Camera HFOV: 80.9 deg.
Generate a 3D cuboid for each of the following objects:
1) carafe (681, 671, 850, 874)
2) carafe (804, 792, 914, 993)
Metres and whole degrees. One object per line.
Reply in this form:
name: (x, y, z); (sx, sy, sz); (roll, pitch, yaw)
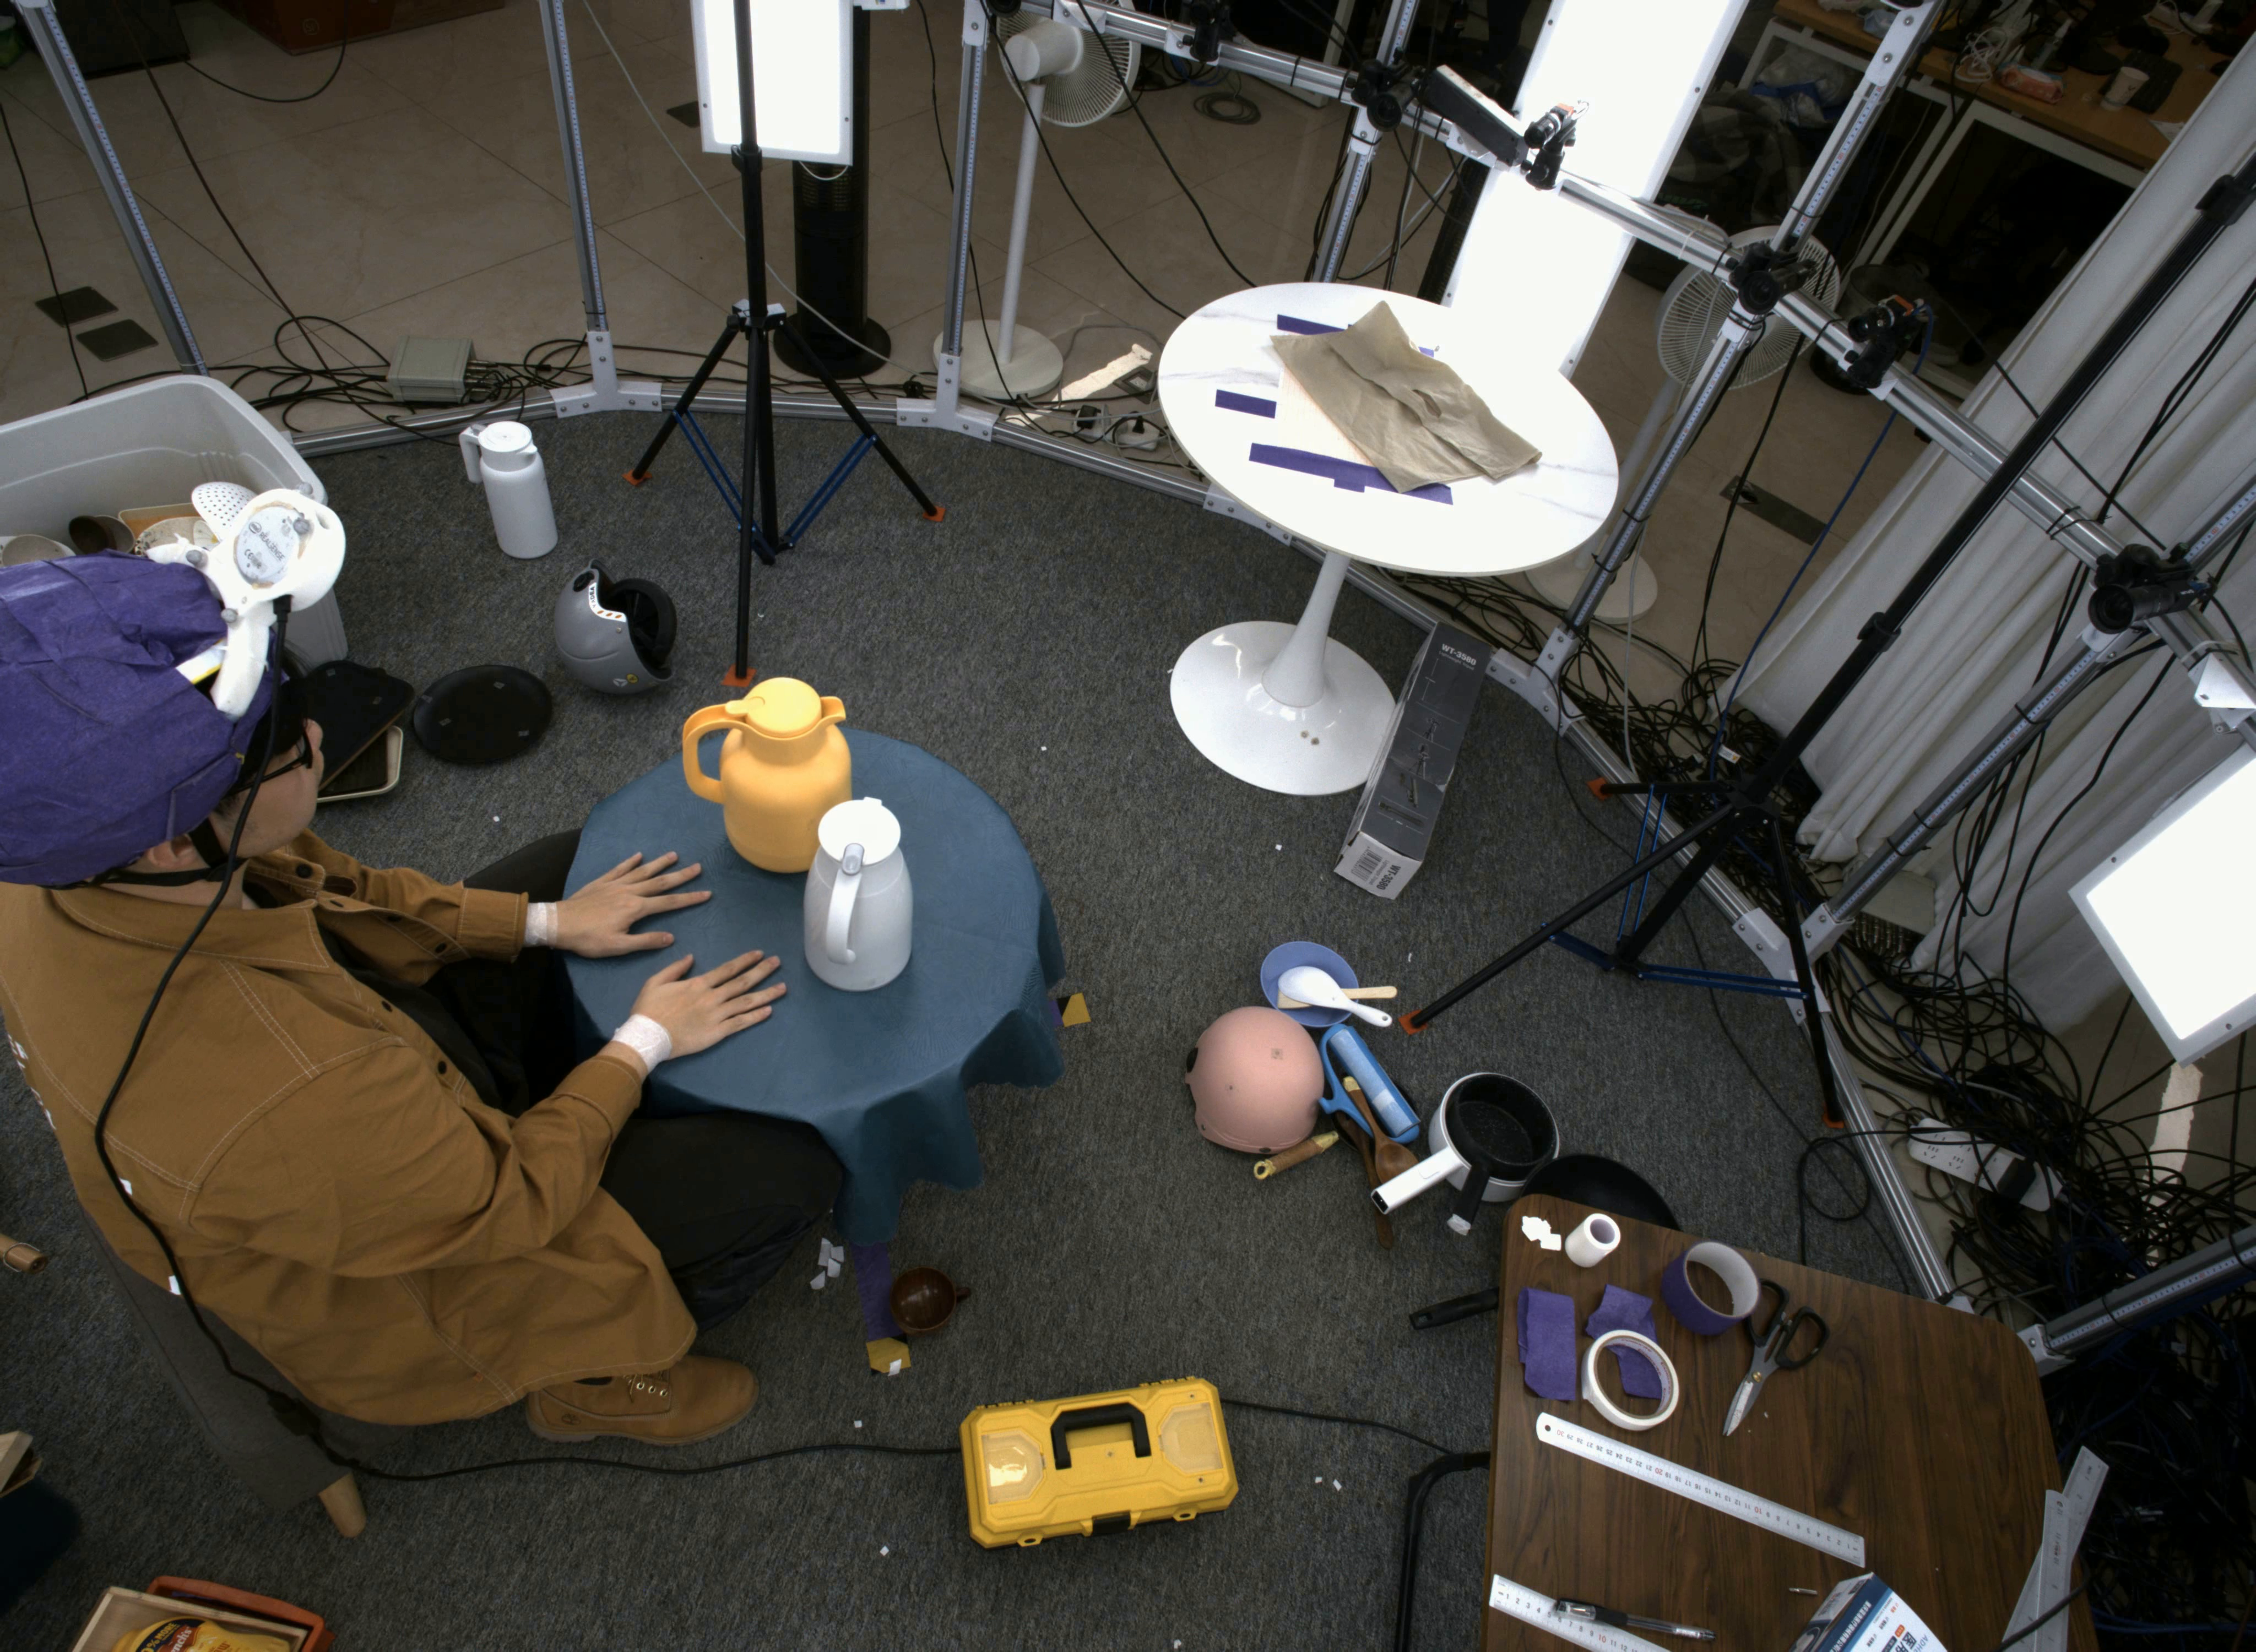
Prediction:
carafe: (-0.446, -0.072, 1.602); (0.203, 0.266, 0.159); (-2, 51, -16)
carafe: (-0.320, 0.088, 1.522); (0.132, 0.254, 0.165); (10, 52, -3)
